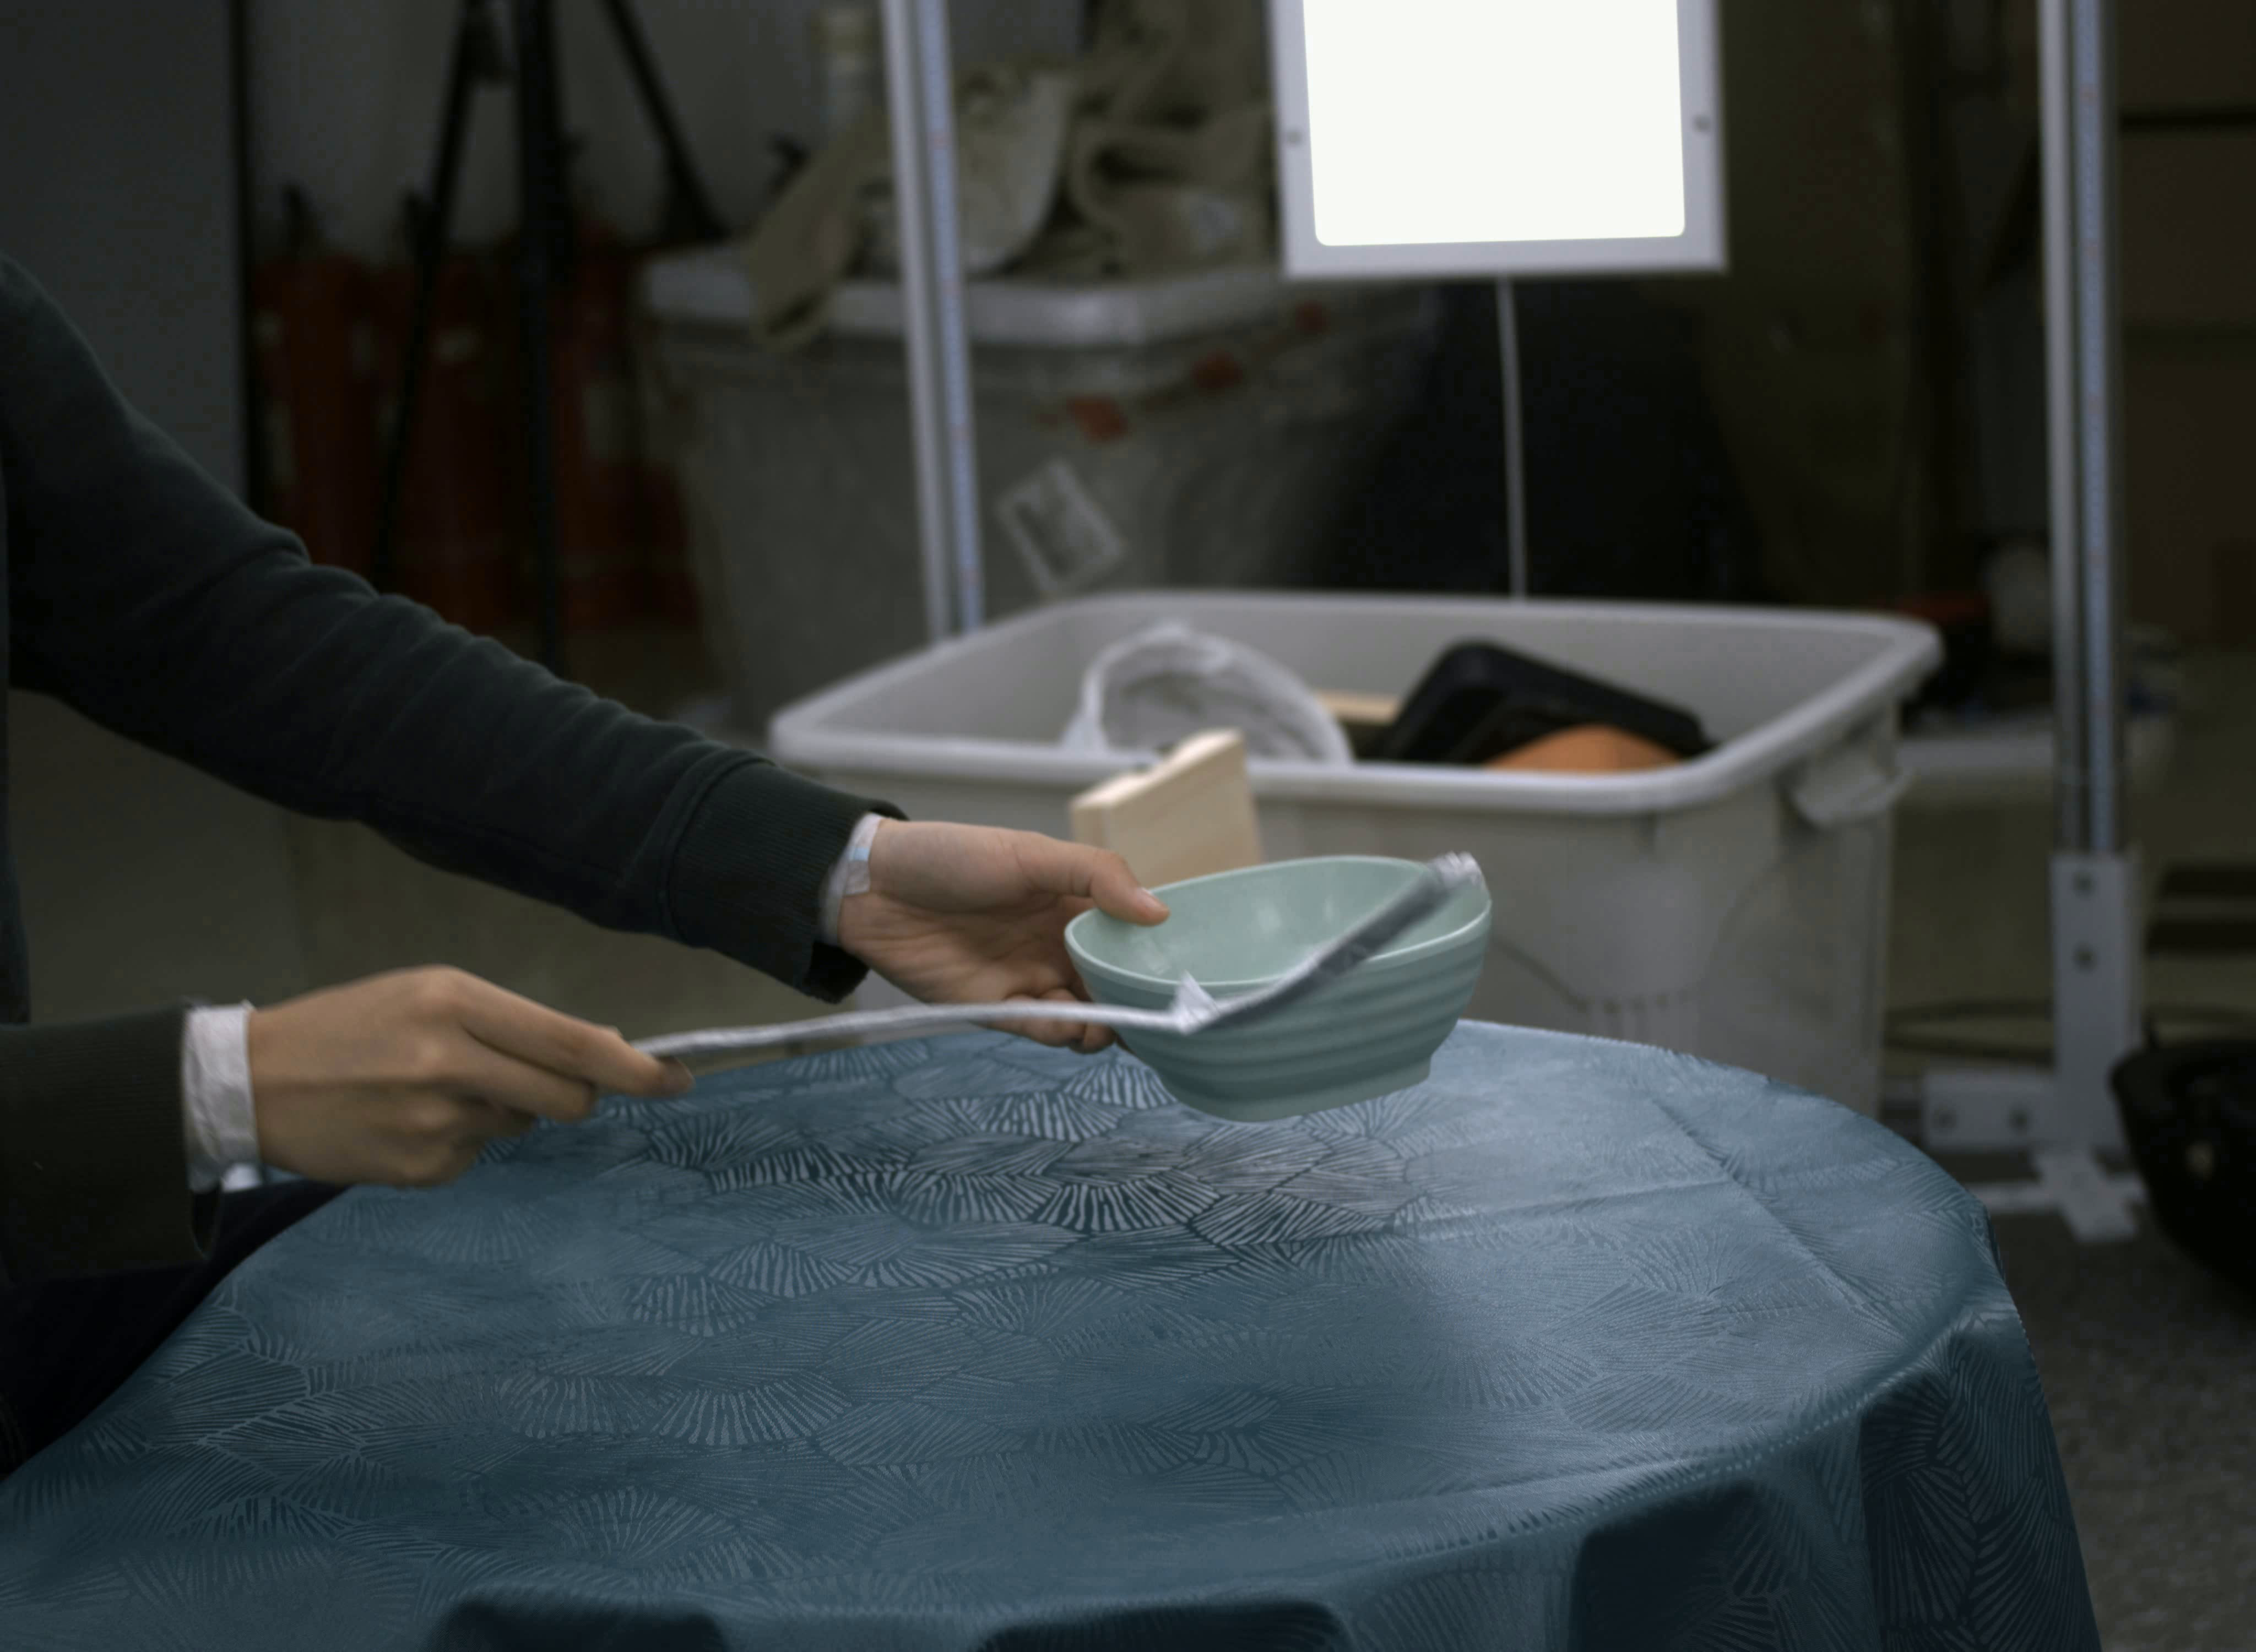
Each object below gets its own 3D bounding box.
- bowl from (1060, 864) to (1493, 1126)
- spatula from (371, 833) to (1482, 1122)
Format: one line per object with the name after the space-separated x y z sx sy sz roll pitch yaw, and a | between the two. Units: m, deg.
0.052 0.060 1.872 0.151 0.059 0.151 -5 14 0 | bowl
-0.069 0.050 1.685 0.368 0.045 0.097 -7 6 15 | spatula
